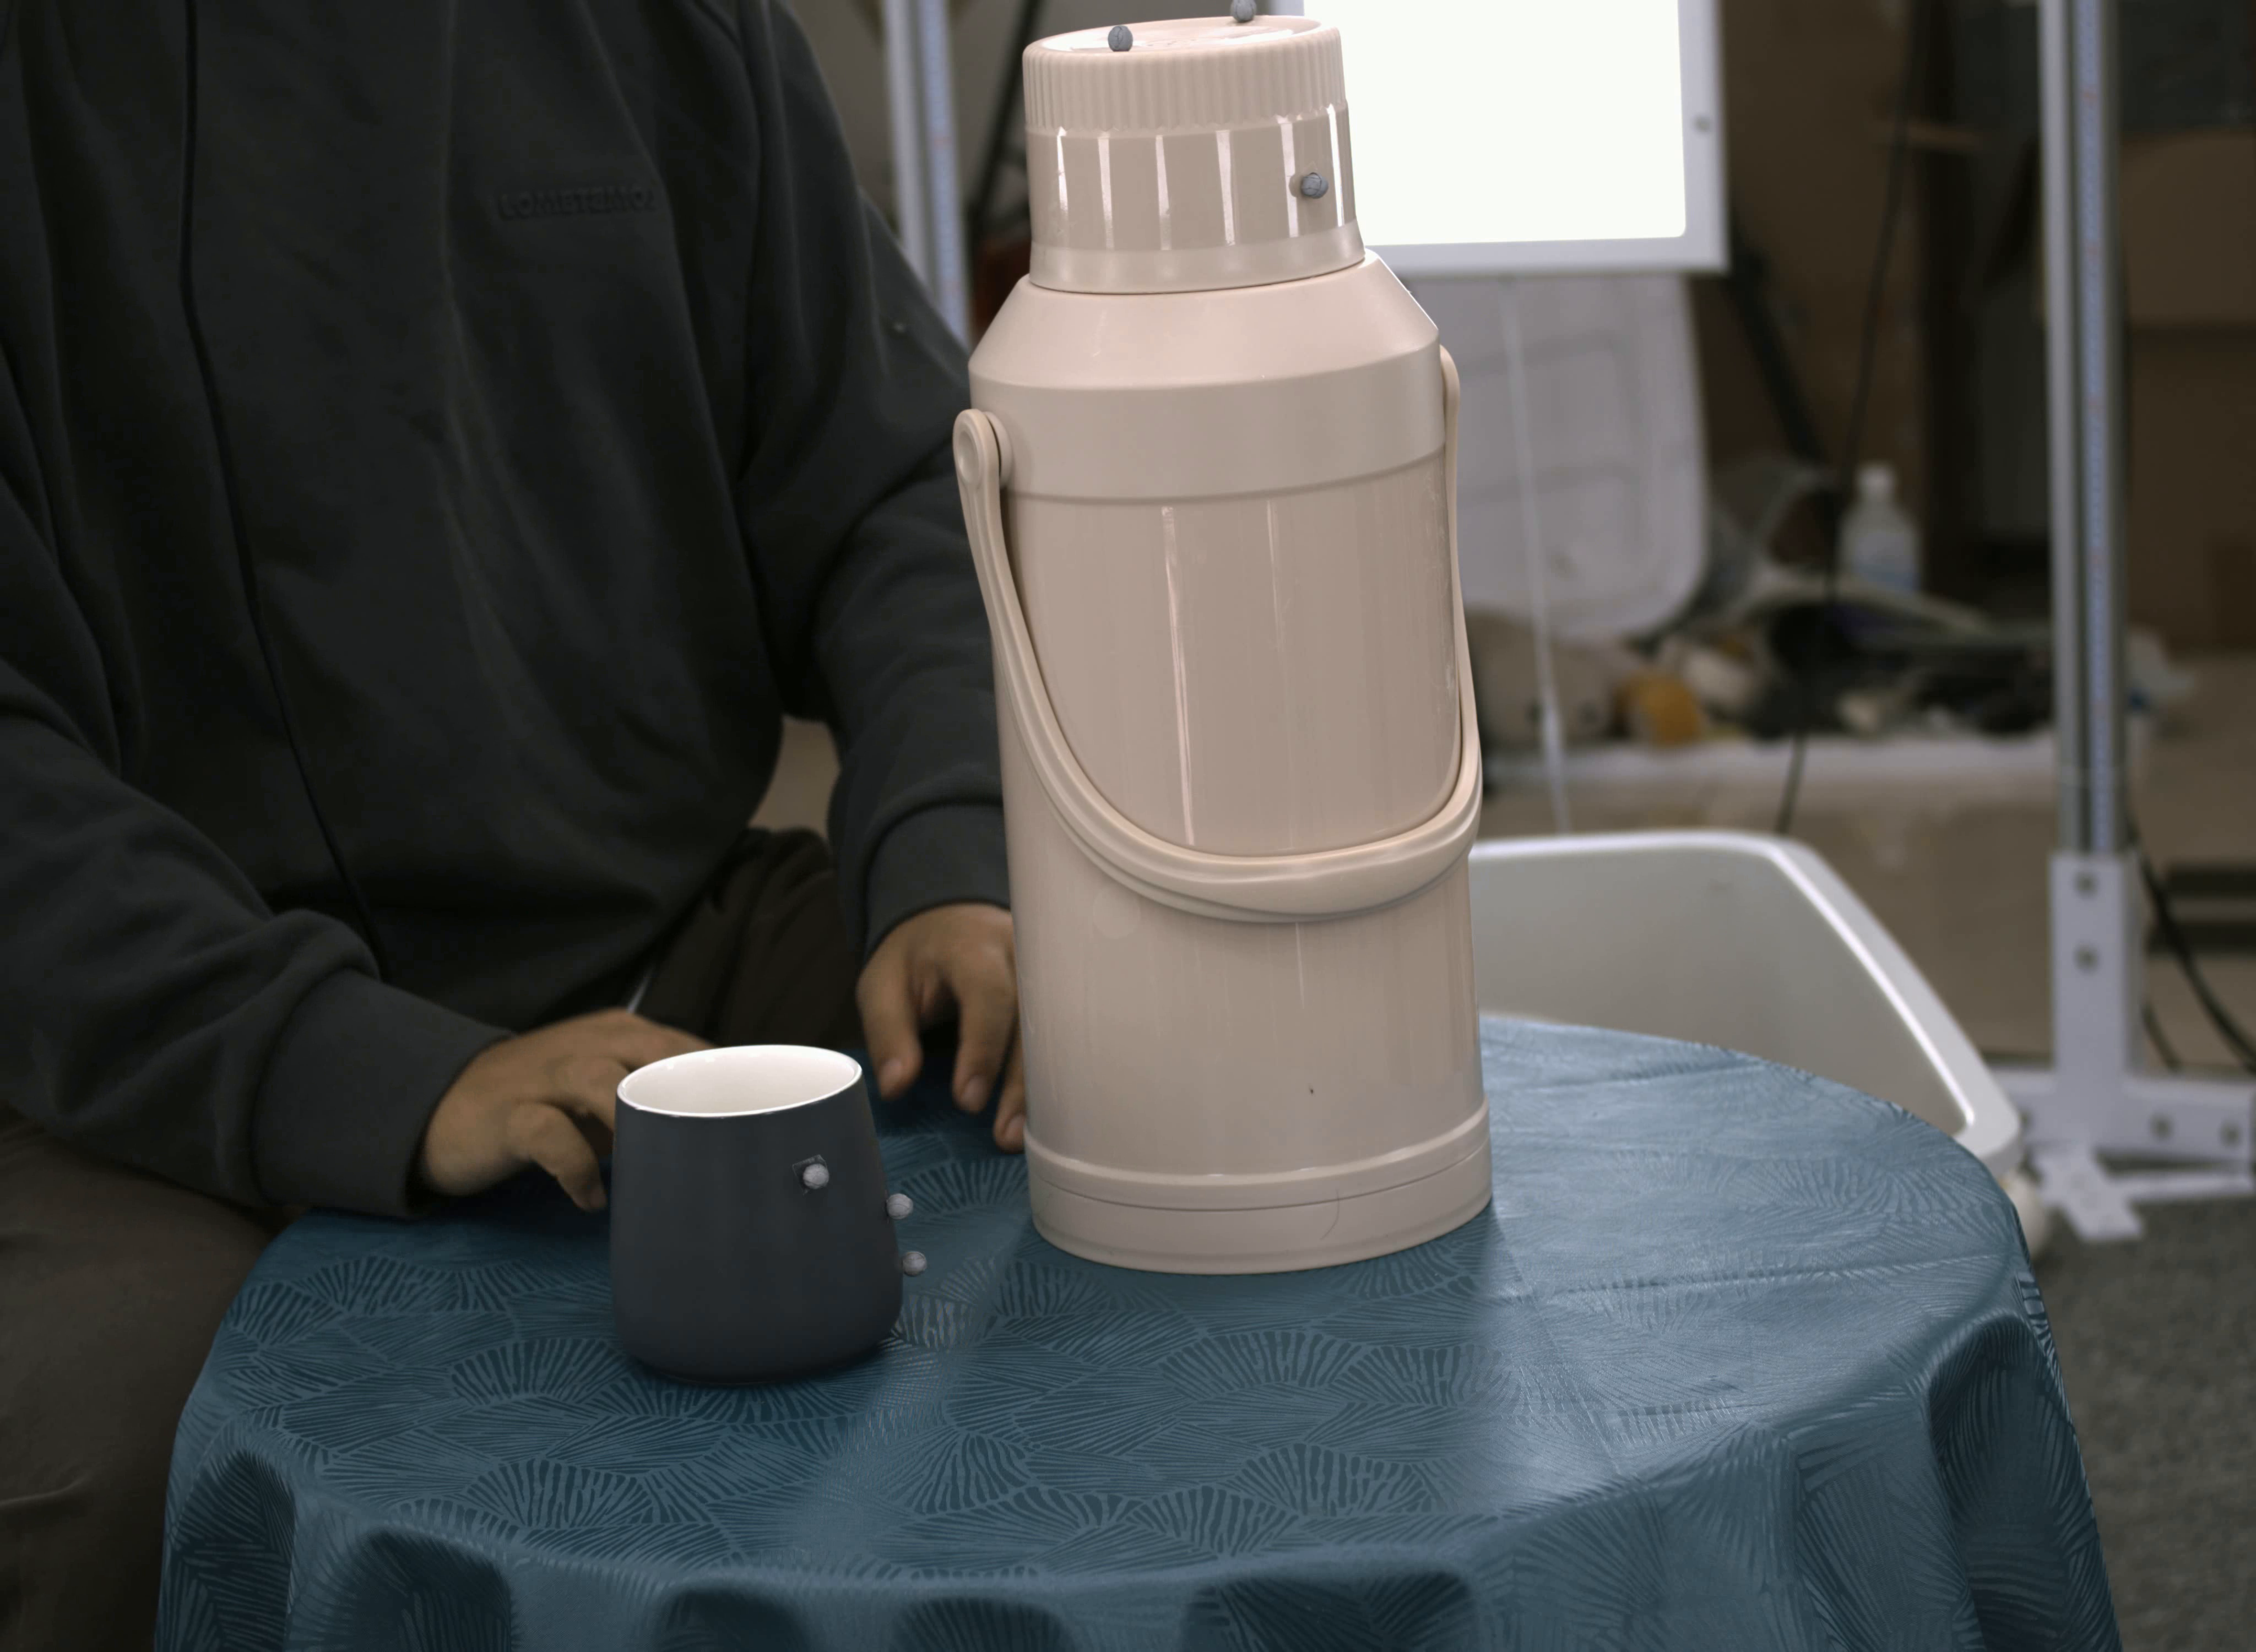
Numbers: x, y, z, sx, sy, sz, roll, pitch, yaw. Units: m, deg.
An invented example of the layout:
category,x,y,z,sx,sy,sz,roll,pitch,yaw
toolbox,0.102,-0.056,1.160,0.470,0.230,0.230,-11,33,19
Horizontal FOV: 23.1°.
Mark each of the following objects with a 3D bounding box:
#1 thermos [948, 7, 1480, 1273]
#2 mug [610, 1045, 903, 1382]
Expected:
category,x,y,z,sx,sy,sz,roll,pitch,yaw
thermos,0.025,-0.067,1.842,0.172,0.408,0.210,-10,15,-23
mug,-0.128,0.121,1.773,0.091,0.090,0.125,-12,15,-29
